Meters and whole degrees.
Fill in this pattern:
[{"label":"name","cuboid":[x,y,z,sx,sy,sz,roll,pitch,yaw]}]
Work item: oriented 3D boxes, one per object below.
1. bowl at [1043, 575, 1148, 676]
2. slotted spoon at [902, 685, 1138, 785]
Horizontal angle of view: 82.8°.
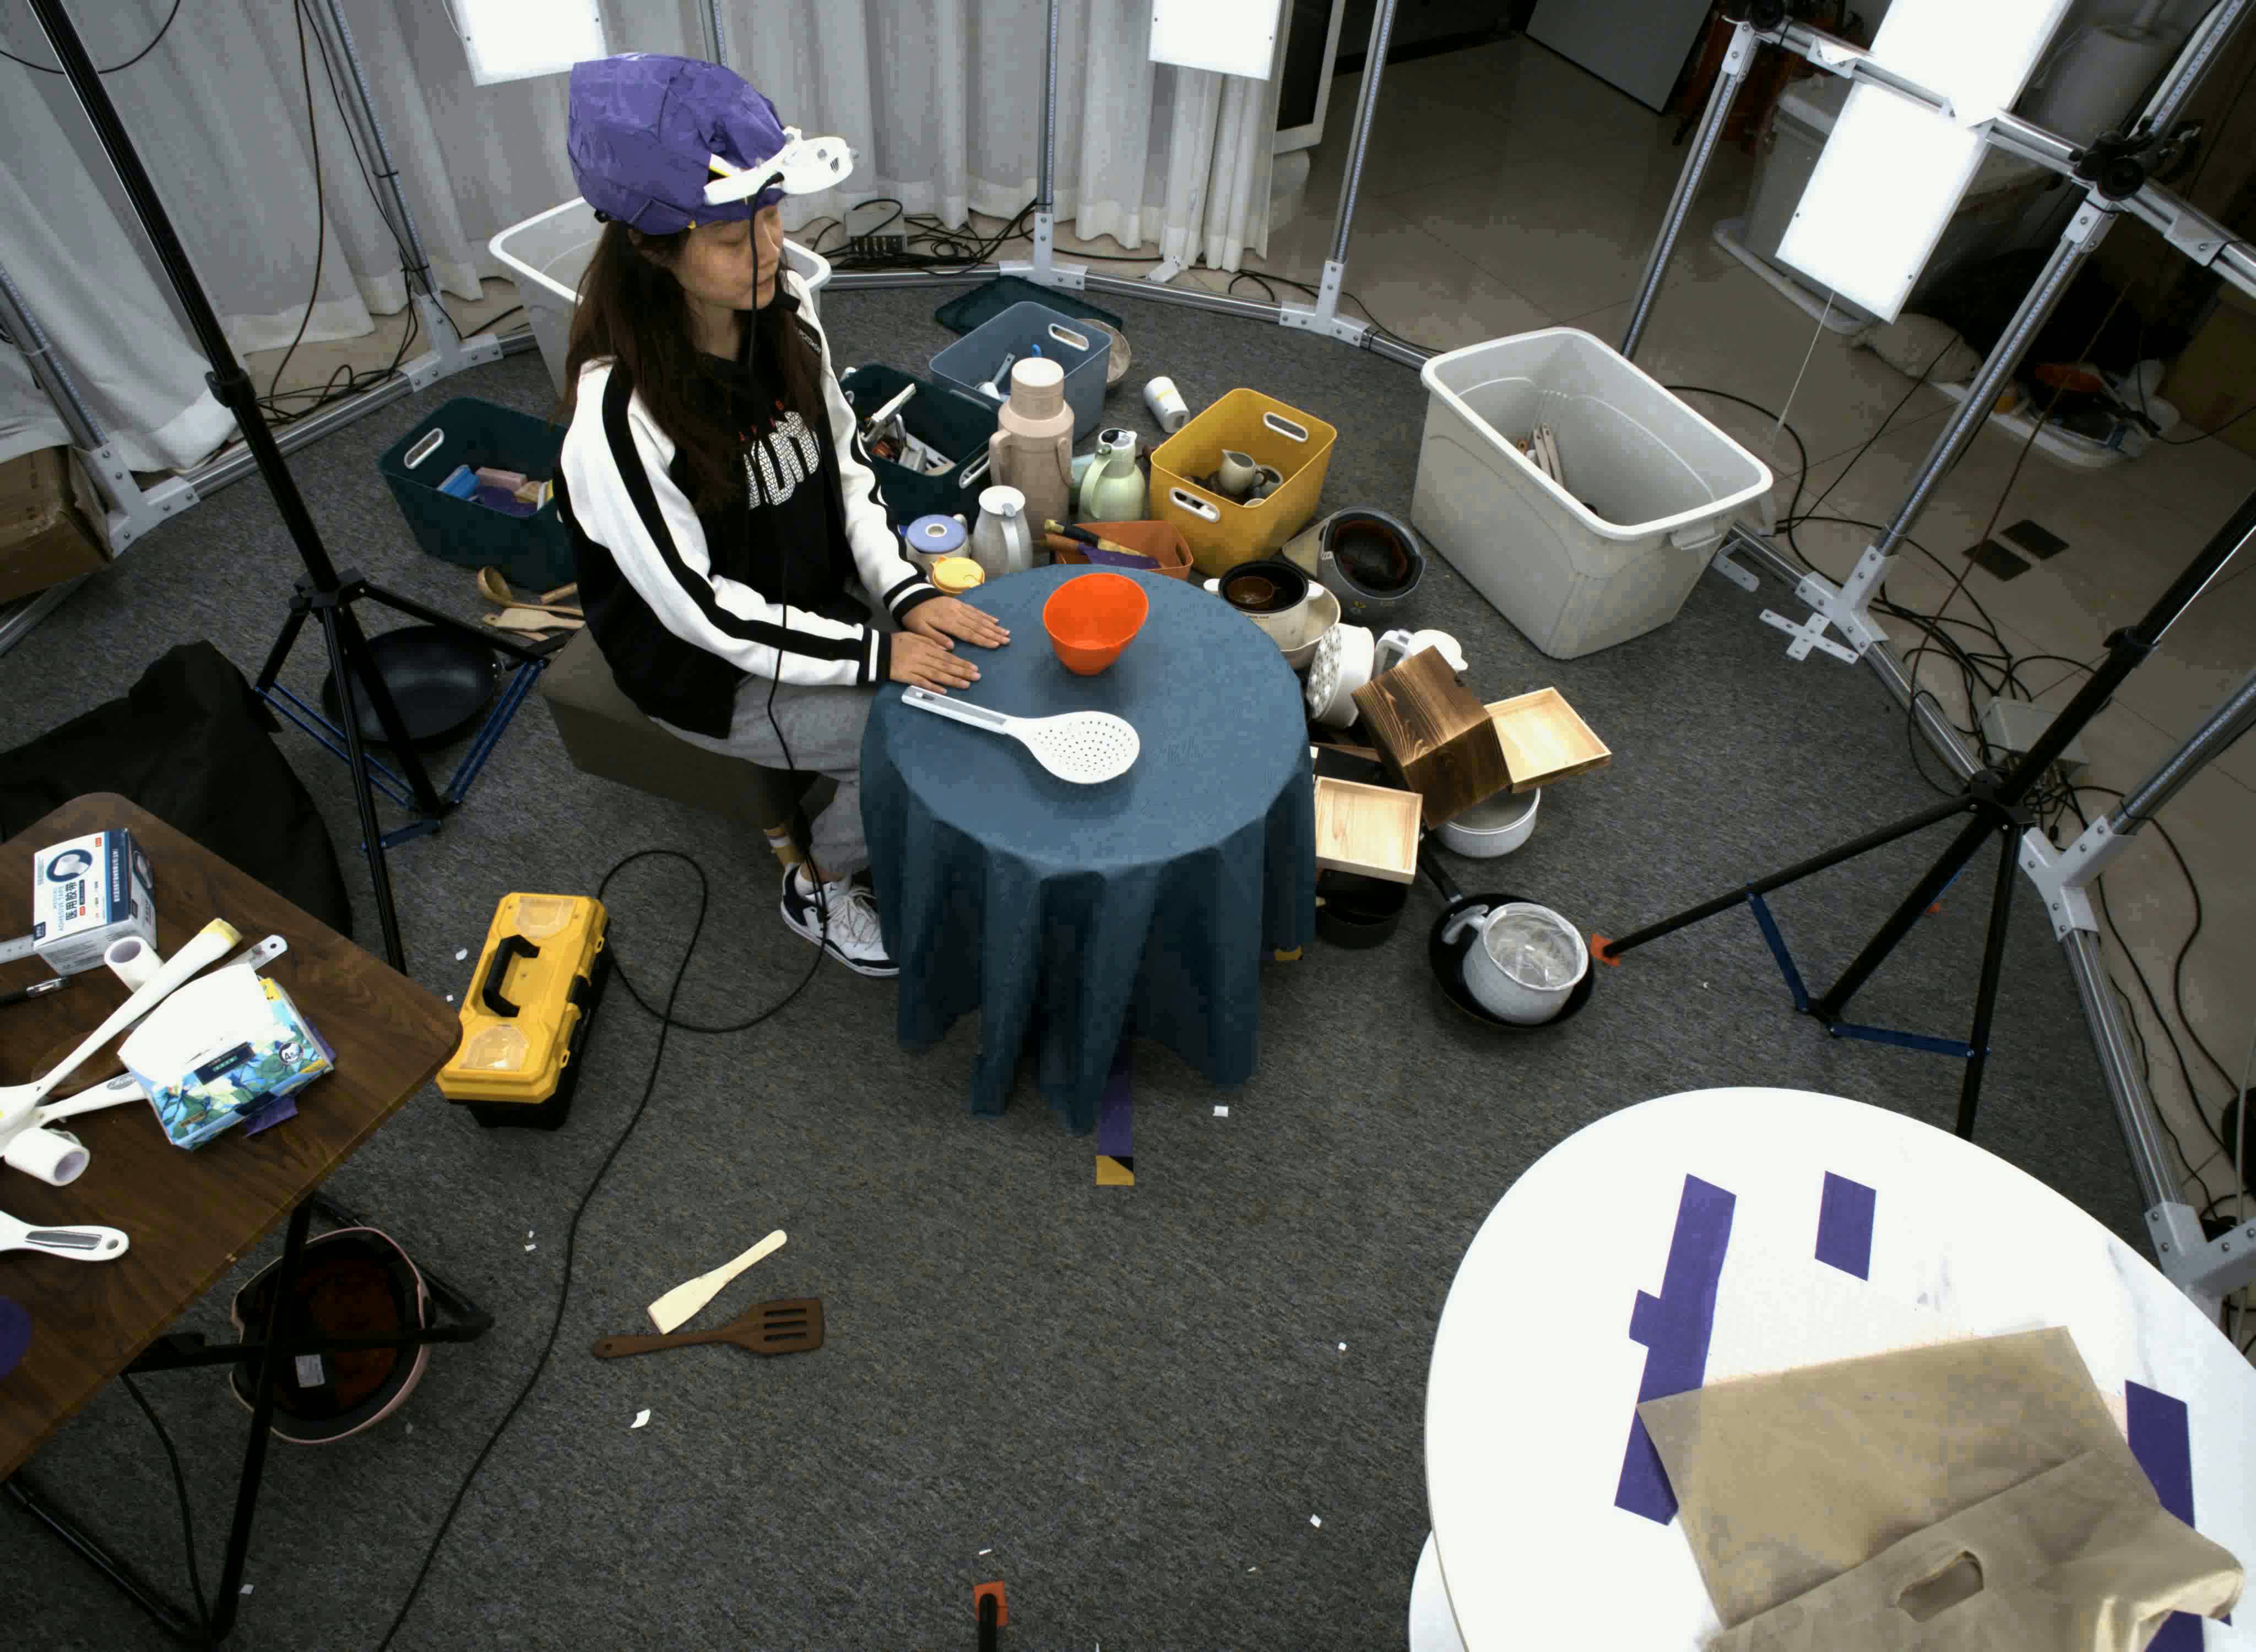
[{"label":"bowl","cuboid":[-0.047,-0.277,1.843,0.148,0.102,0.152,1,51,-2]},{"label":"slotted spoon","cuboid":[-0.152,-0.133,1.746,0.352,0.044,0.138,21,50,15]}]
